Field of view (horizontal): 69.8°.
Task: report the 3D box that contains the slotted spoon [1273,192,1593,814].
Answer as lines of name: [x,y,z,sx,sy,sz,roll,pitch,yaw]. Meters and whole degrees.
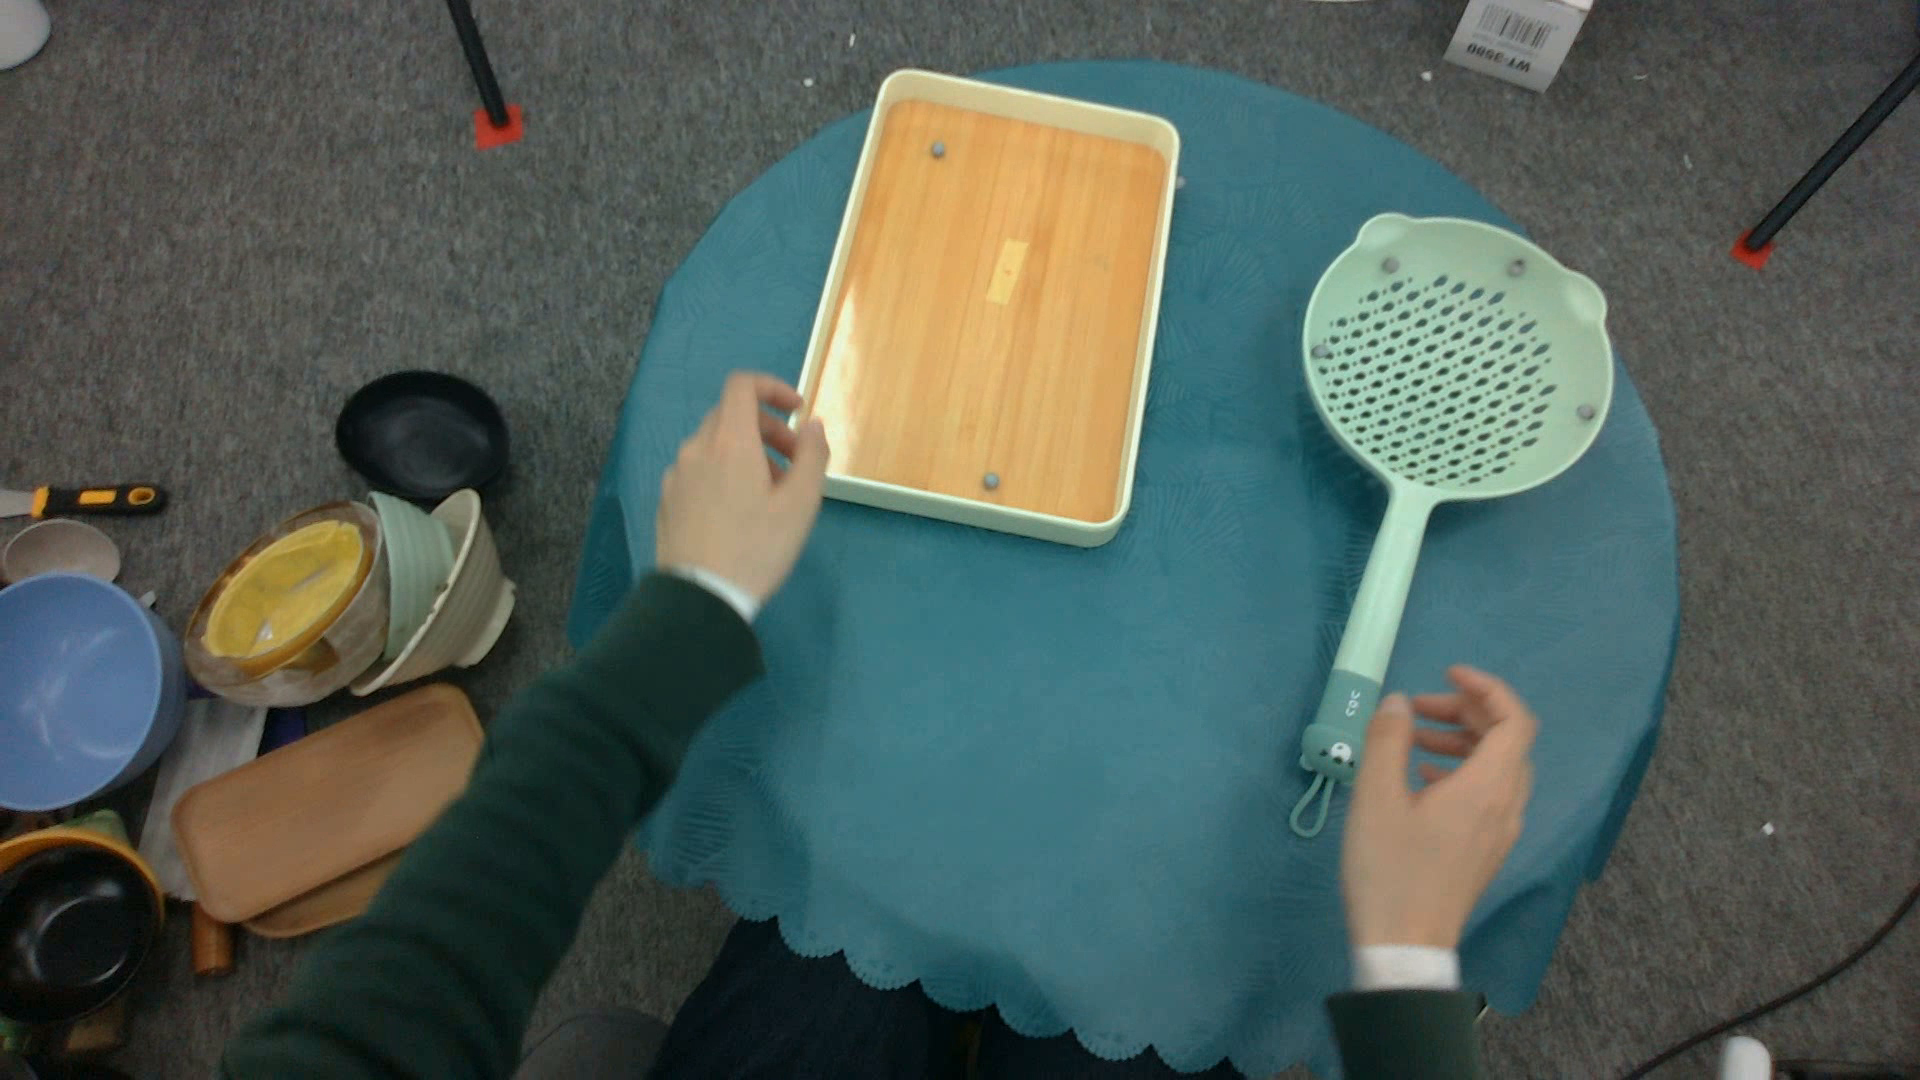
slotted spoon: [0.231,-0.026,0.742,0.169,0.075,0.360,20,64,5]

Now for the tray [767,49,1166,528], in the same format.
tray: [0.012,-0.157,0.806,0.191,0.027,0.301,11,63,0]
